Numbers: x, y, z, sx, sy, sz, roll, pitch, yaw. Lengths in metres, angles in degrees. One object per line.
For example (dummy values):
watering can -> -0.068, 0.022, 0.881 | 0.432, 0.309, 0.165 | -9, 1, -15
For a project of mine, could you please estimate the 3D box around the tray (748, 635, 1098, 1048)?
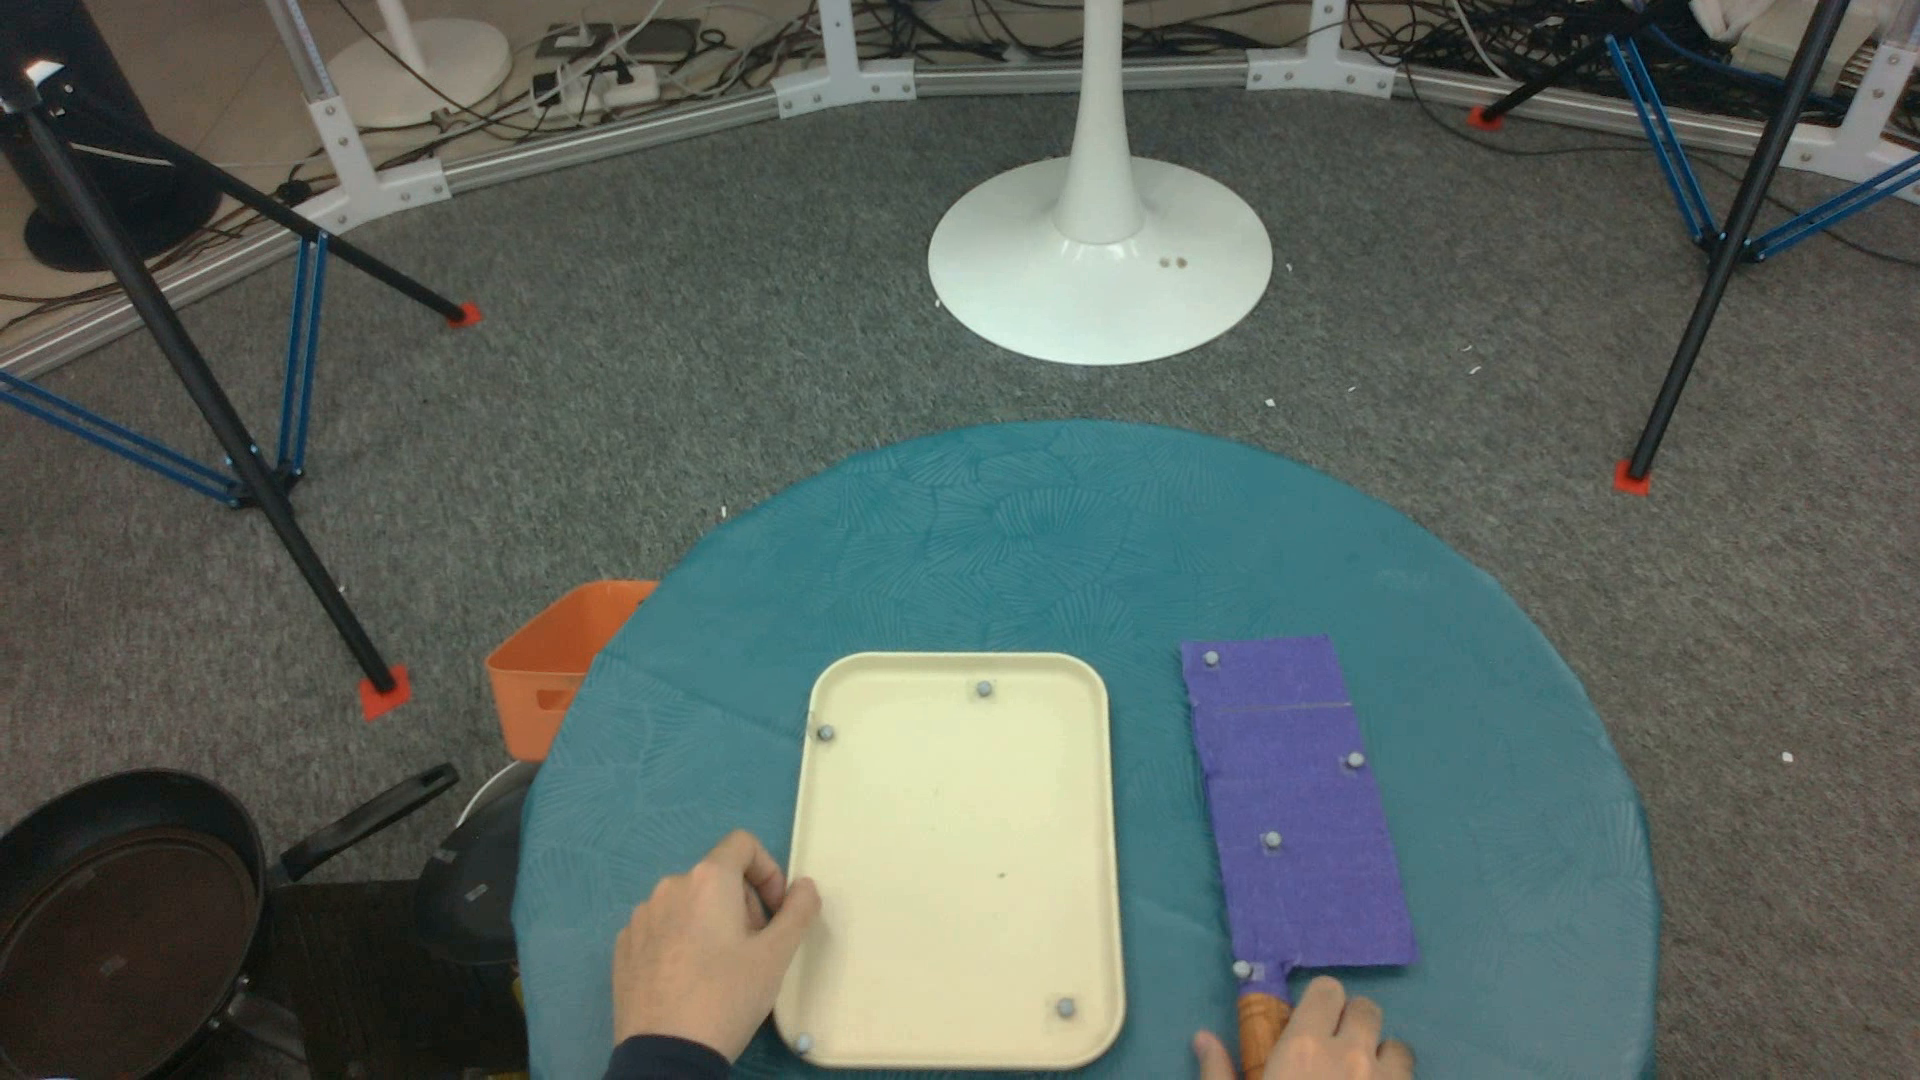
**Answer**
tray -> -0.016, 0.150, 0.728 | 0.171, 0.017, 0.241 | 1, 49, 2

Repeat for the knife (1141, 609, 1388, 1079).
knife -> 0.165, 0.157, 0.708 | 0.104, 0.032, 0.316 | -3, 48, 0
